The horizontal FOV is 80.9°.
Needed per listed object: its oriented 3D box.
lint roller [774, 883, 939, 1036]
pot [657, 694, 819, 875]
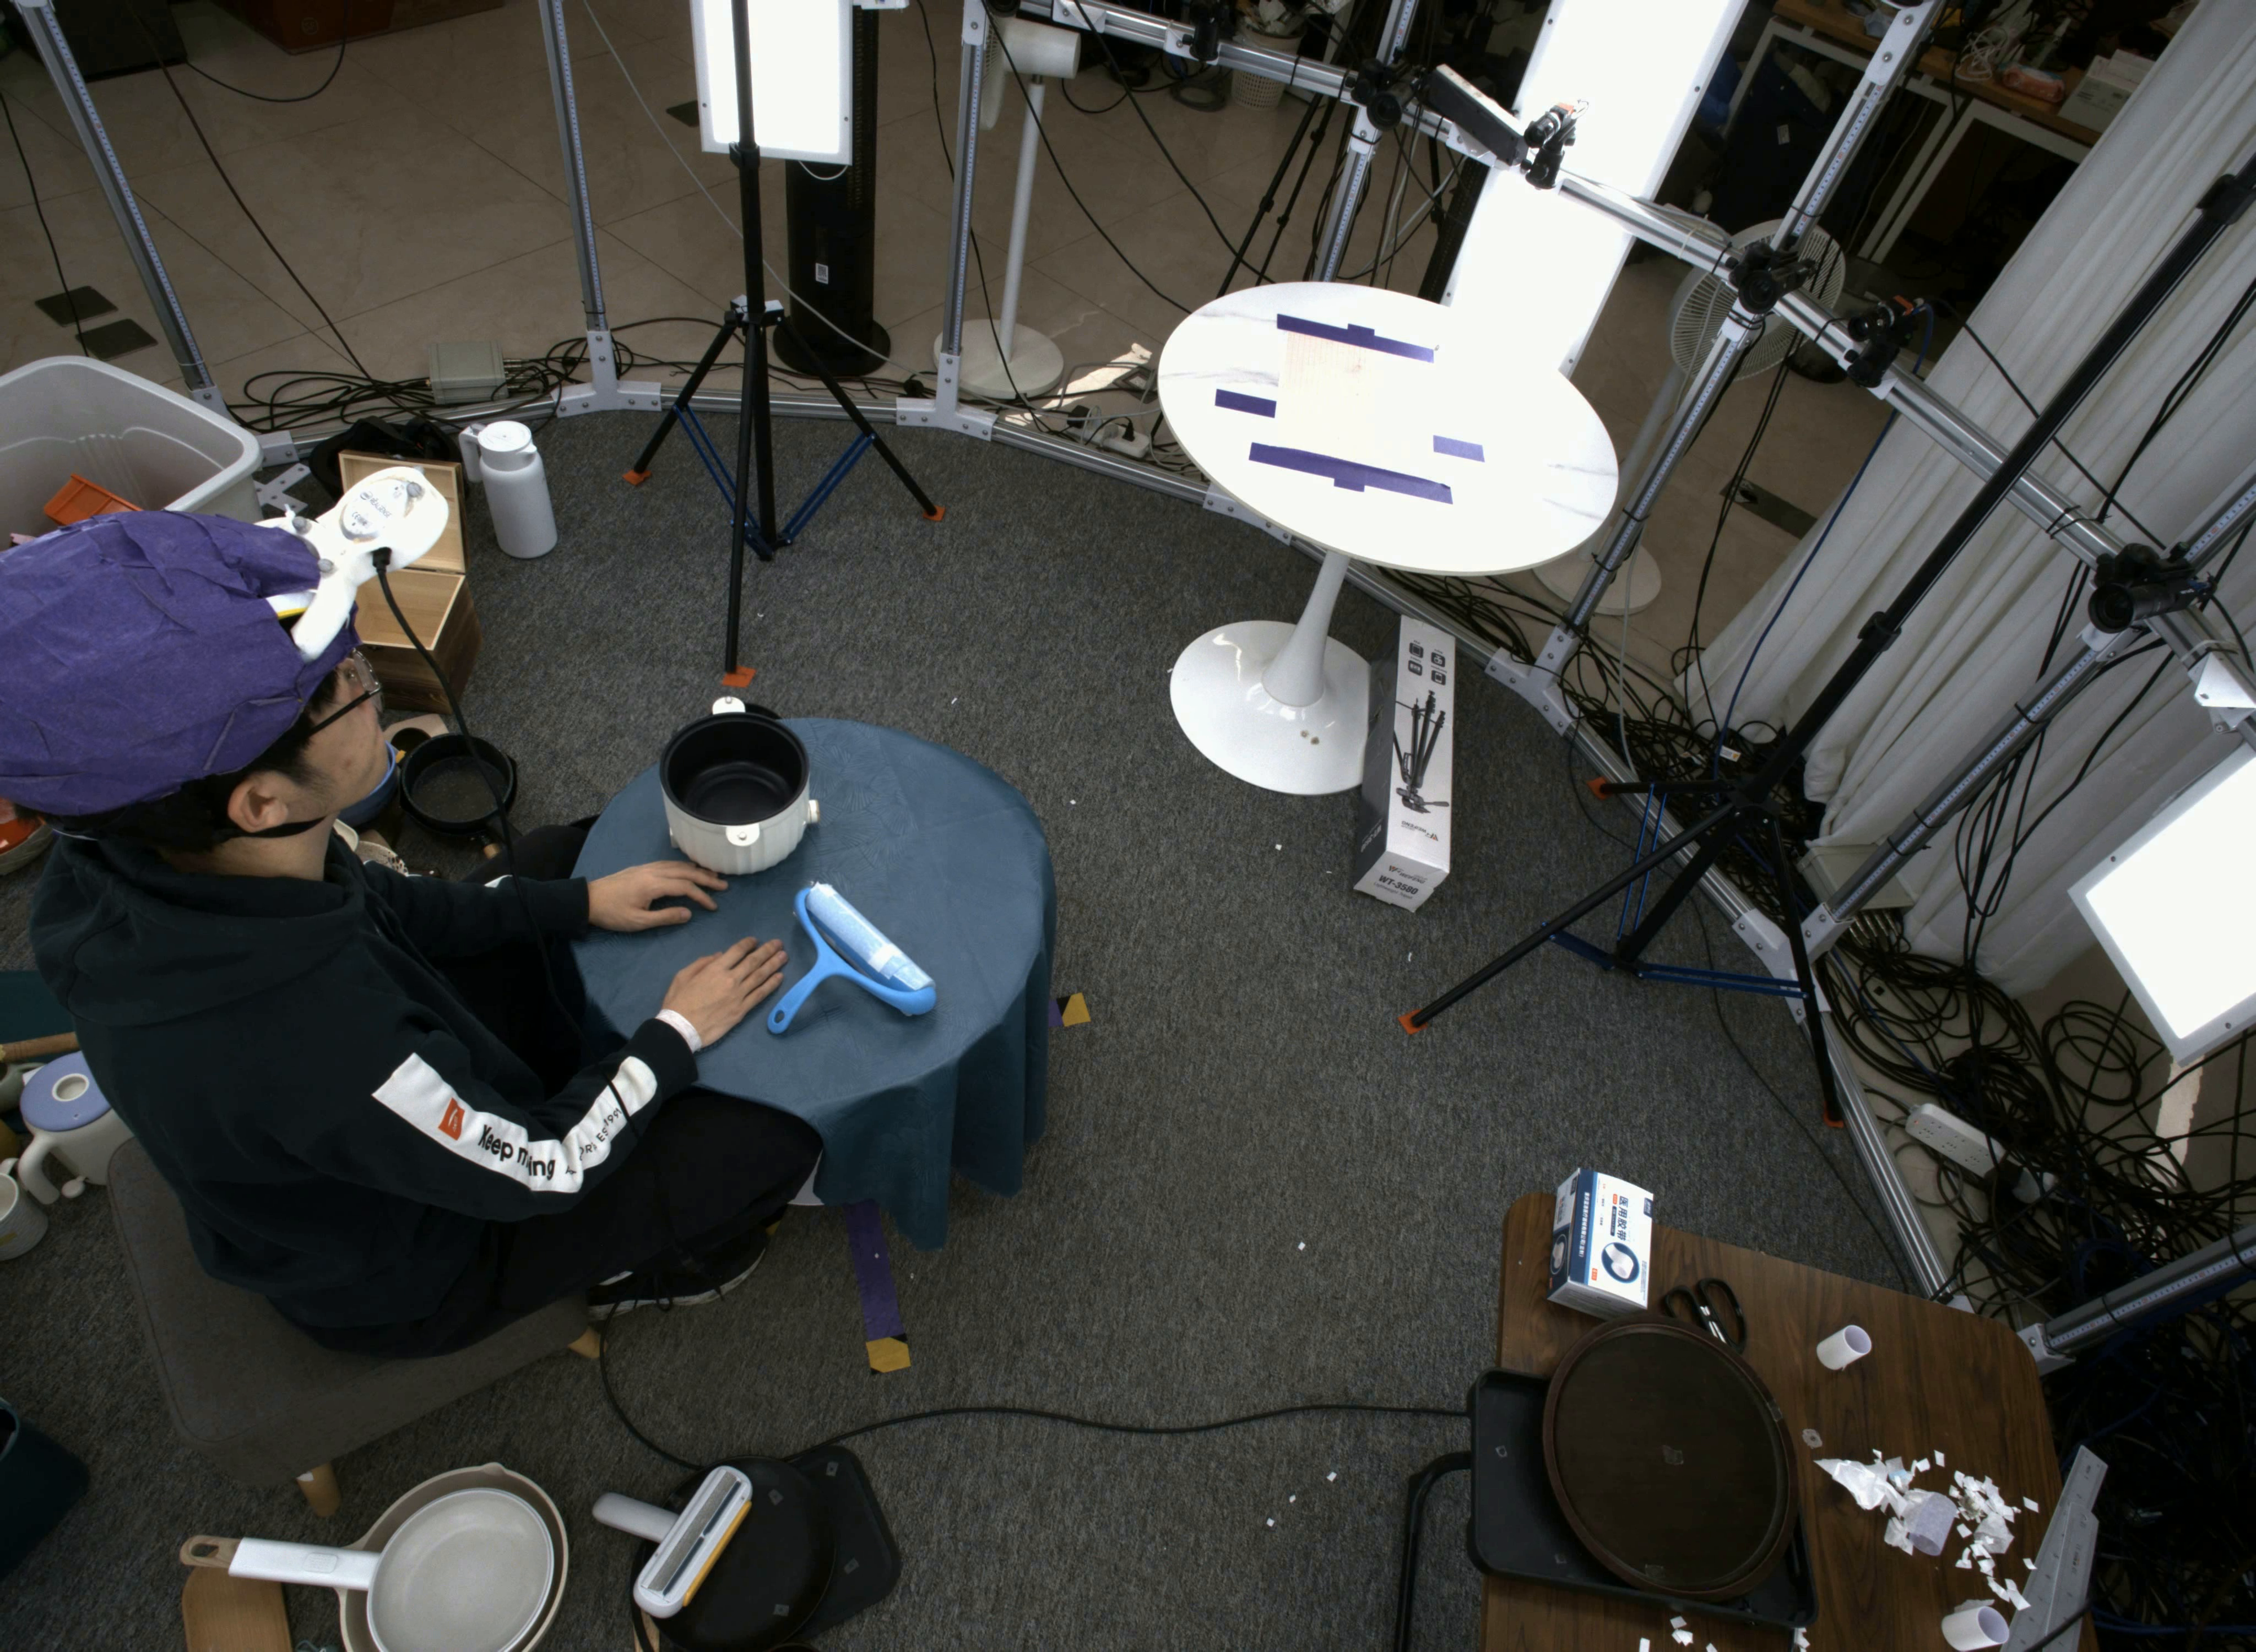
[{"bbox_3d":[-0.358,0.180,1.579,0.225,0.069,0.180,37,53,11],"label":"lint roller"},{"bbox_3d":[-0.494,-0.039,1.650,0.191,0.146,0.235,-9,58,-16],"label":"pot"}]
